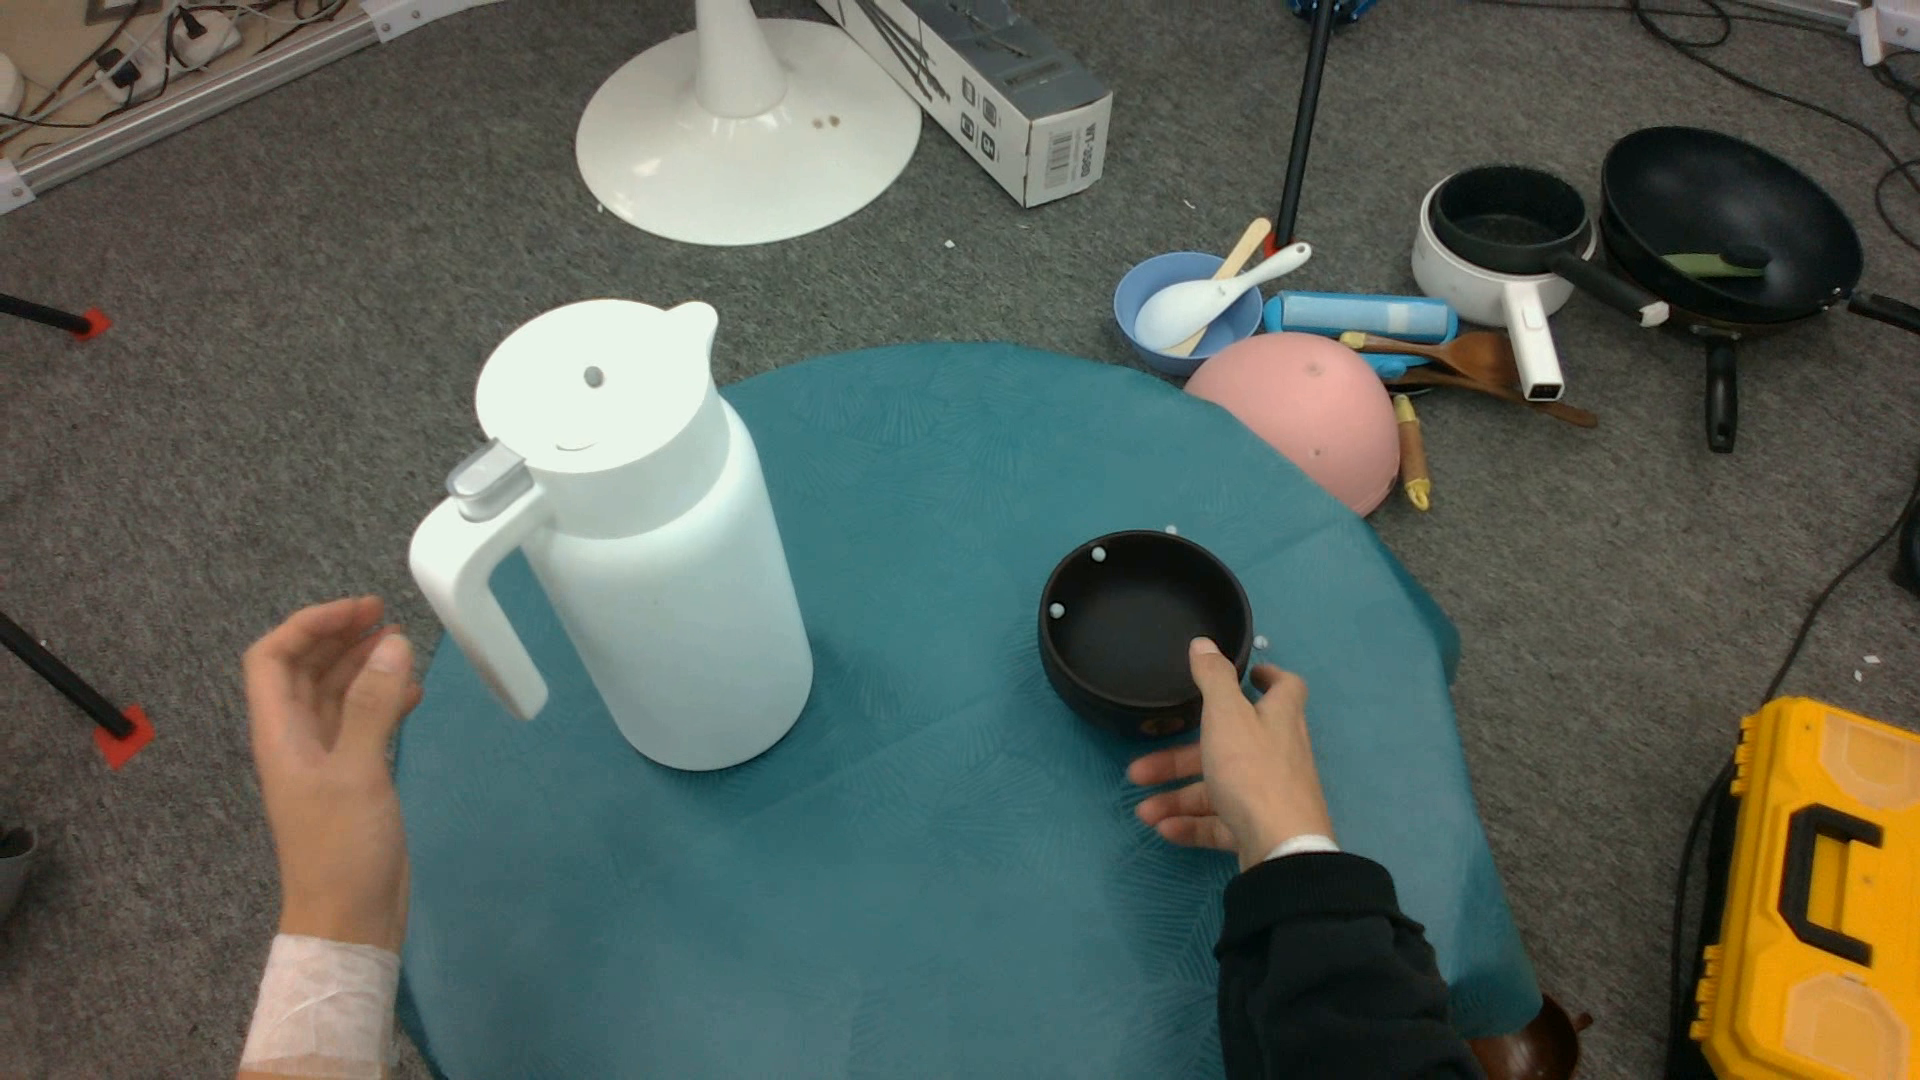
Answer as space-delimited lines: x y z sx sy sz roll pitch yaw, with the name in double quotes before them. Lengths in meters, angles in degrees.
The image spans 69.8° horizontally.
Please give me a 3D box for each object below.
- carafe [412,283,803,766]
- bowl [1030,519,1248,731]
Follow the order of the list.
"carafe" -0.162 0.017 0.686 0.124 0.267 0.173 32 61 20
"bowl" 0.098 0.054 0.766 0.118 0.069 0.118 -1 55 2
